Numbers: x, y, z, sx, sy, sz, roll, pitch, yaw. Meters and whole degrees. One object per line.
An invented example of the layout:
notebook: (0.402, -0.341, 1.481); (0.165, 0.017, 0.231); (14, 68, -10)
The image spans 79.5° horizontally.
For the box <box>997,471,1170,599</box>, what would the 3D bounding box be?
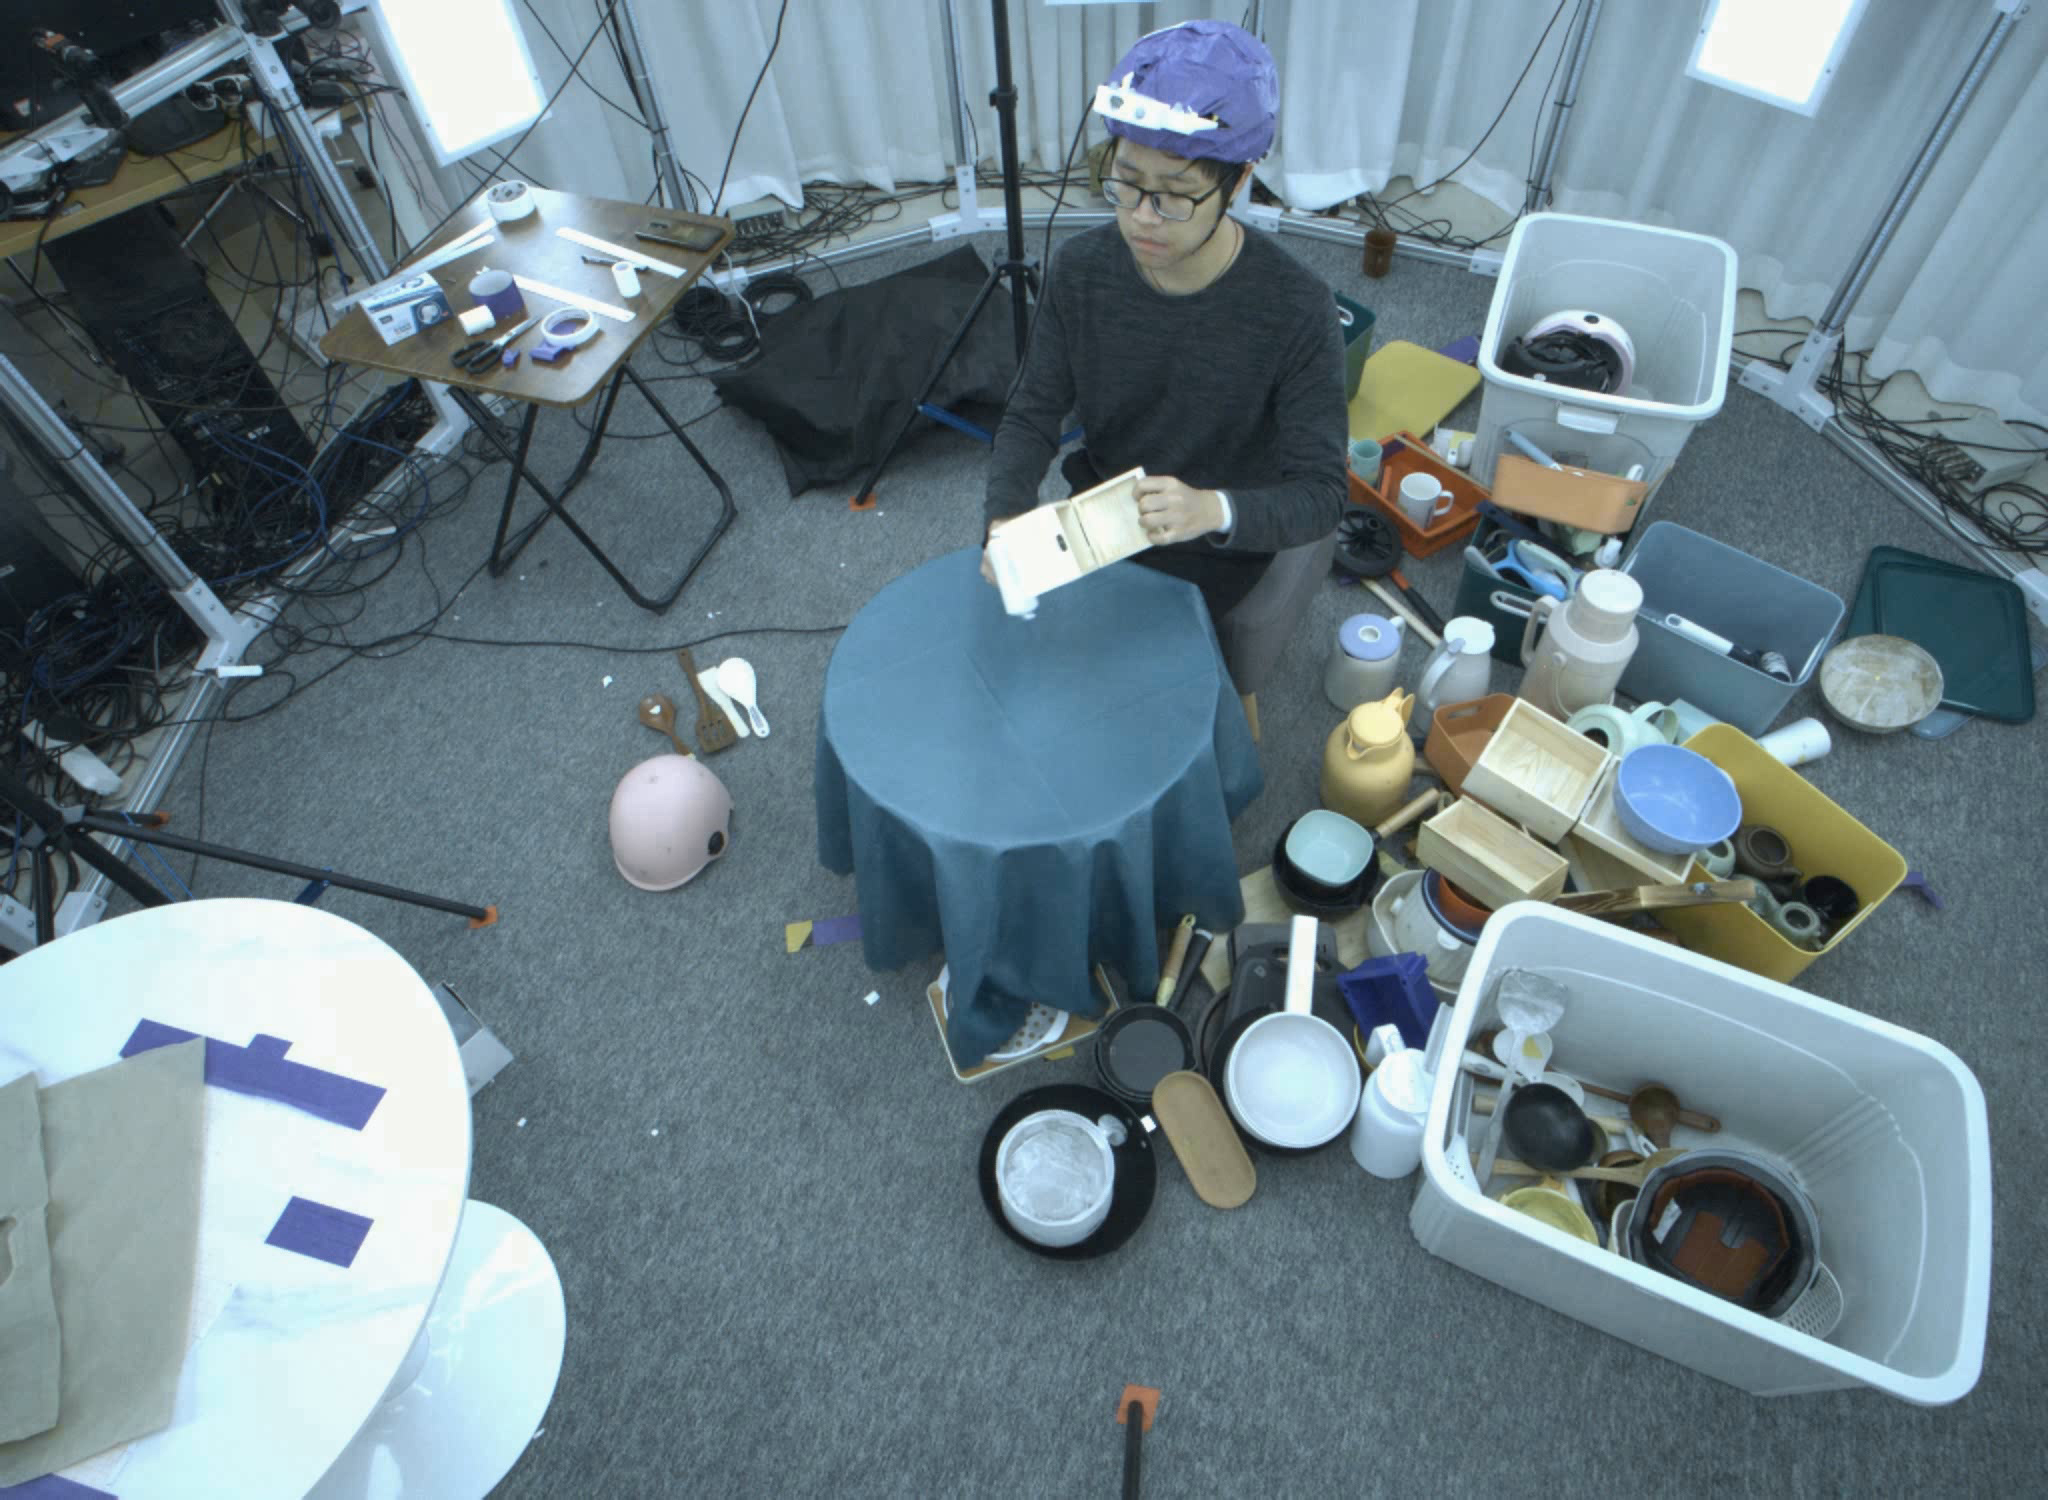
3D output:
box: (0.079, -0.280, 1.584); (0.183, 0.134, 0.103); (-20, 98, 18)

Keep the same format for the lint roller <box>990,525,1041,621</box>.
lint roller: (-0.025, -0.257, 1.749); (0.050, 0.134, 0.178); (-19, 16, -8)
